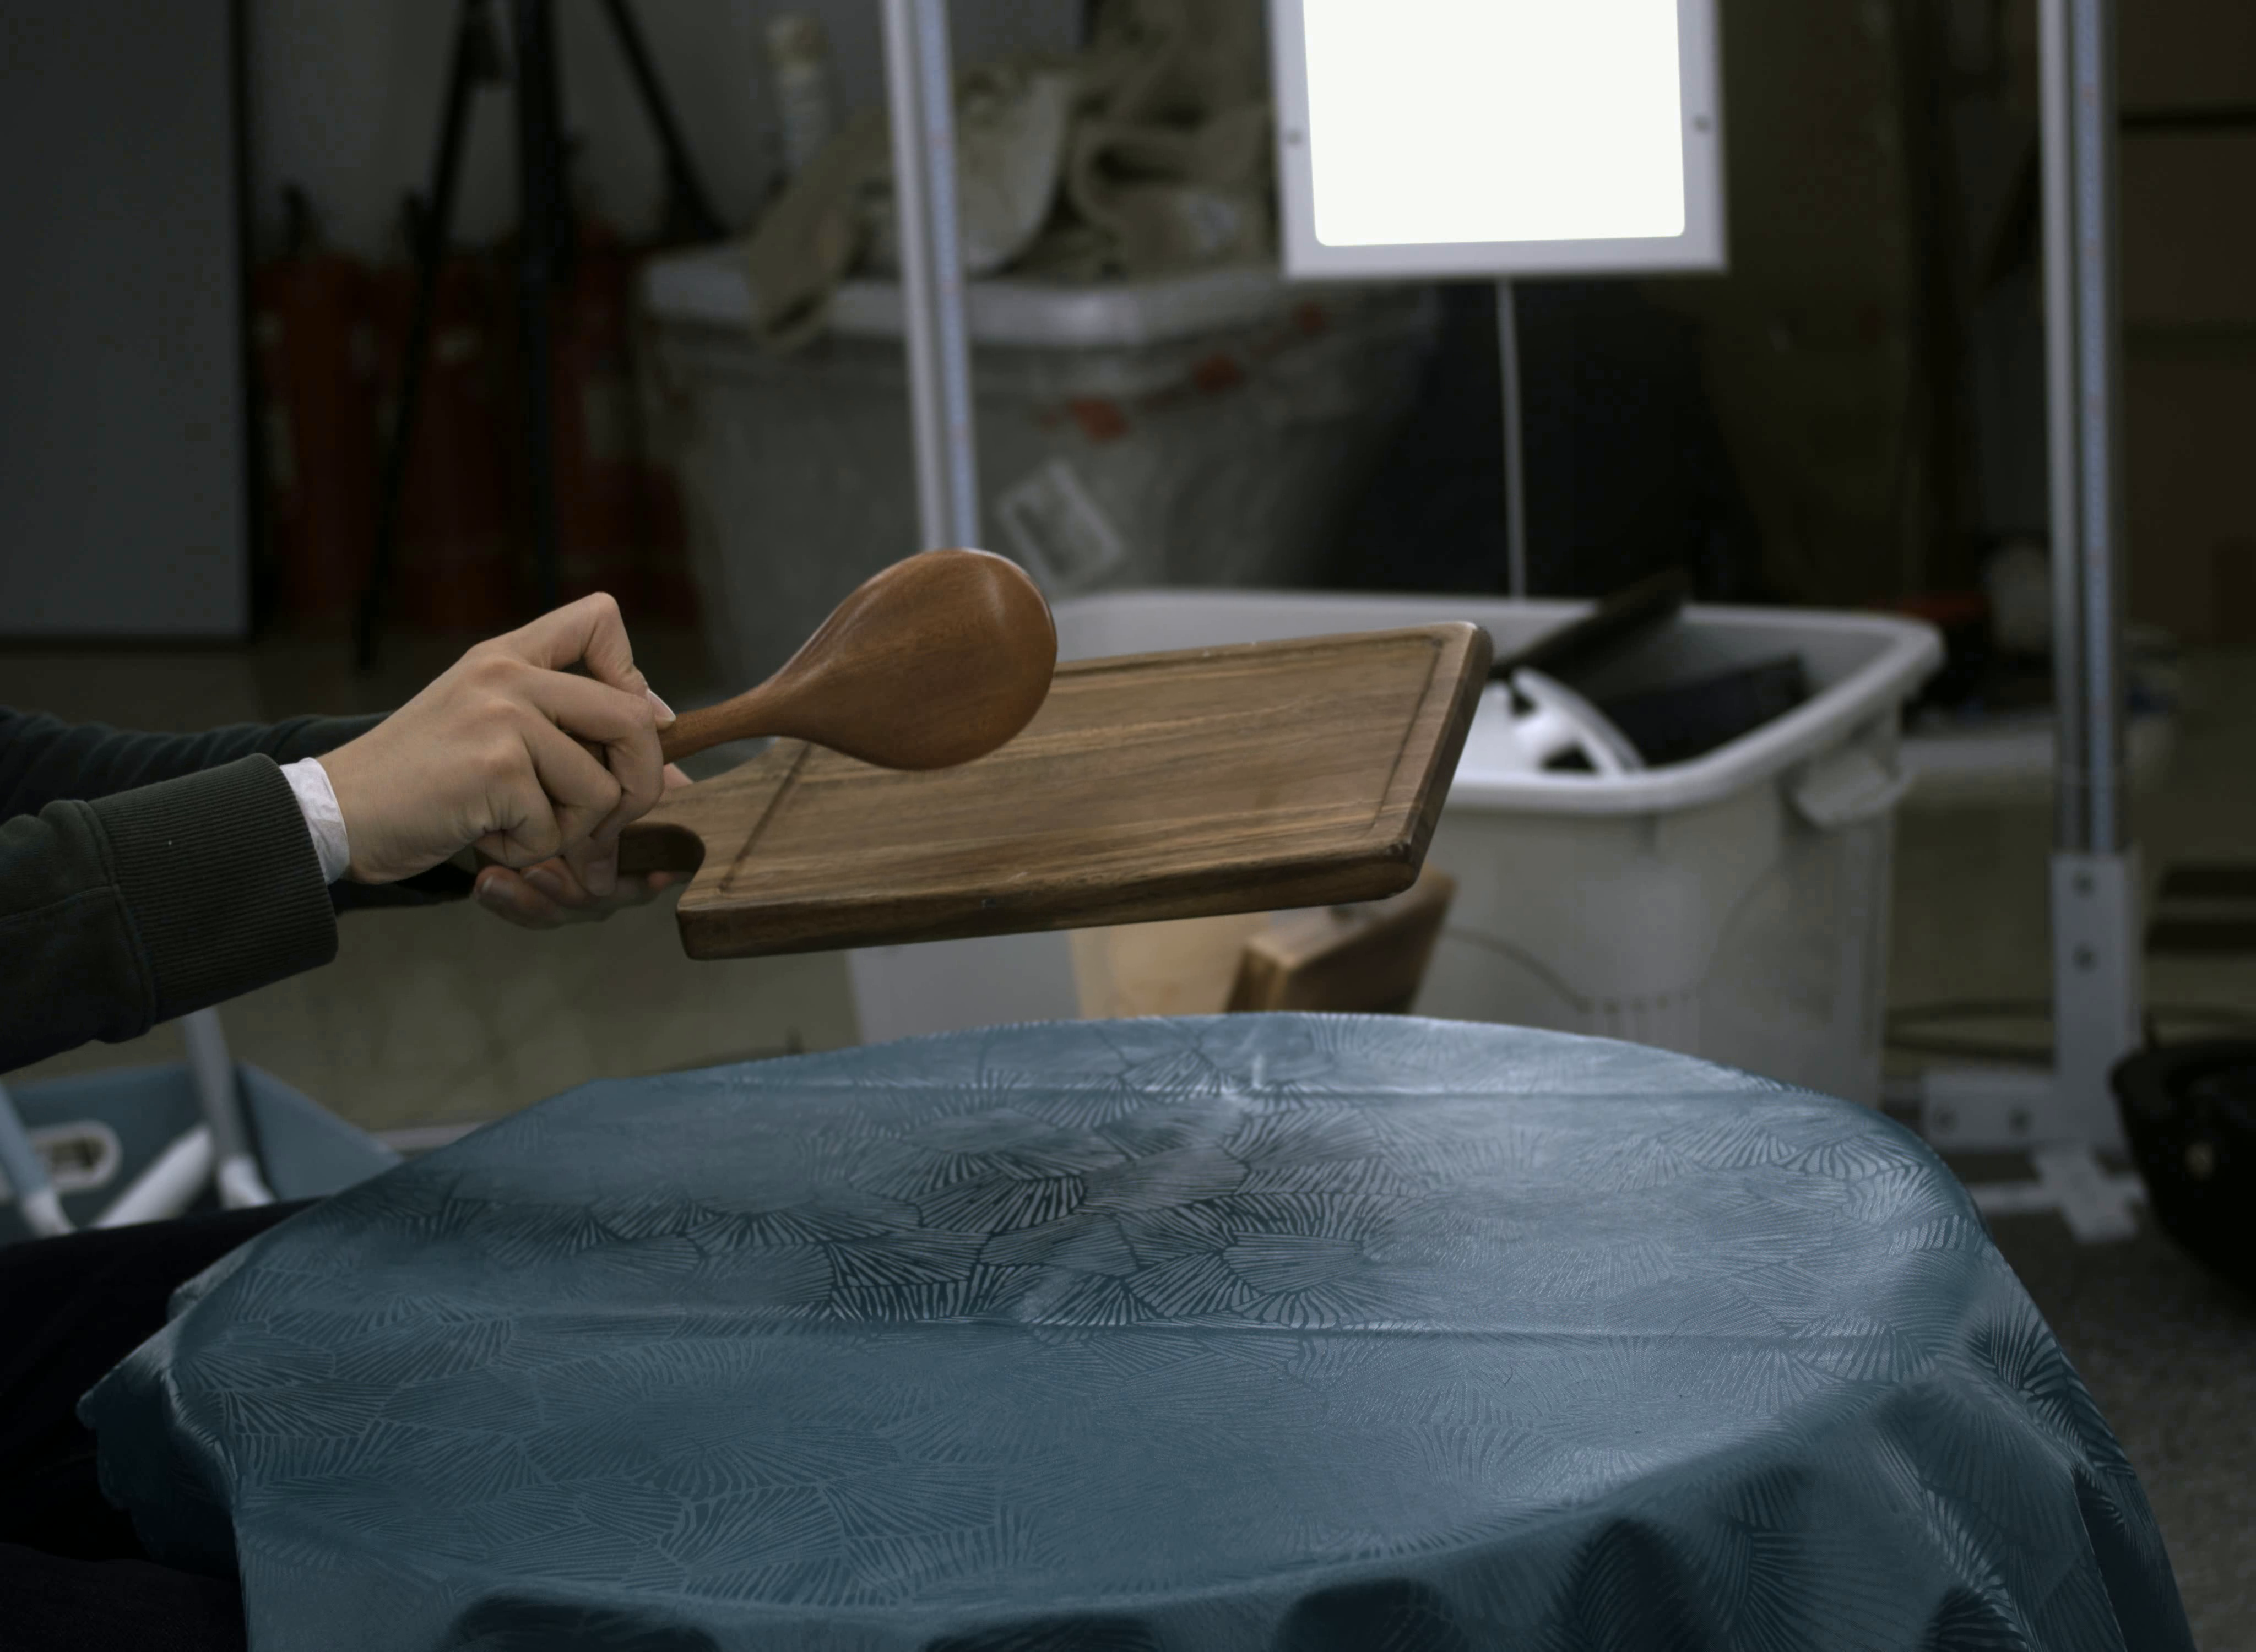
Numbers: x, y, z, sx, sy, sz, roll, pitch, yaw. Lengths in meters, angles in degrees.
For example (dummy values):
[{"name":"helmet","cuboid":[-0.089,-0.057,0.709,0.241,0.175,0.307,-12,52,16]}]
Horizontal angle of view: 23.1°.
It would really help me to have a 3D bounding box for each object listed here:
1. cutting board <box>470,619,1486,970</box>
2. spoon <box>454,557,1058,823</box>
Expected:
[{"name":"cutting board","cuboid":[-0.059,-0.008,1.887,0.356,0.023,0.198,-6,24,17]},{"name":"spoon","cuboid":[-0.117,-0.036,1.797,0.212,0.076,0.017,-15,18,-21]}]
